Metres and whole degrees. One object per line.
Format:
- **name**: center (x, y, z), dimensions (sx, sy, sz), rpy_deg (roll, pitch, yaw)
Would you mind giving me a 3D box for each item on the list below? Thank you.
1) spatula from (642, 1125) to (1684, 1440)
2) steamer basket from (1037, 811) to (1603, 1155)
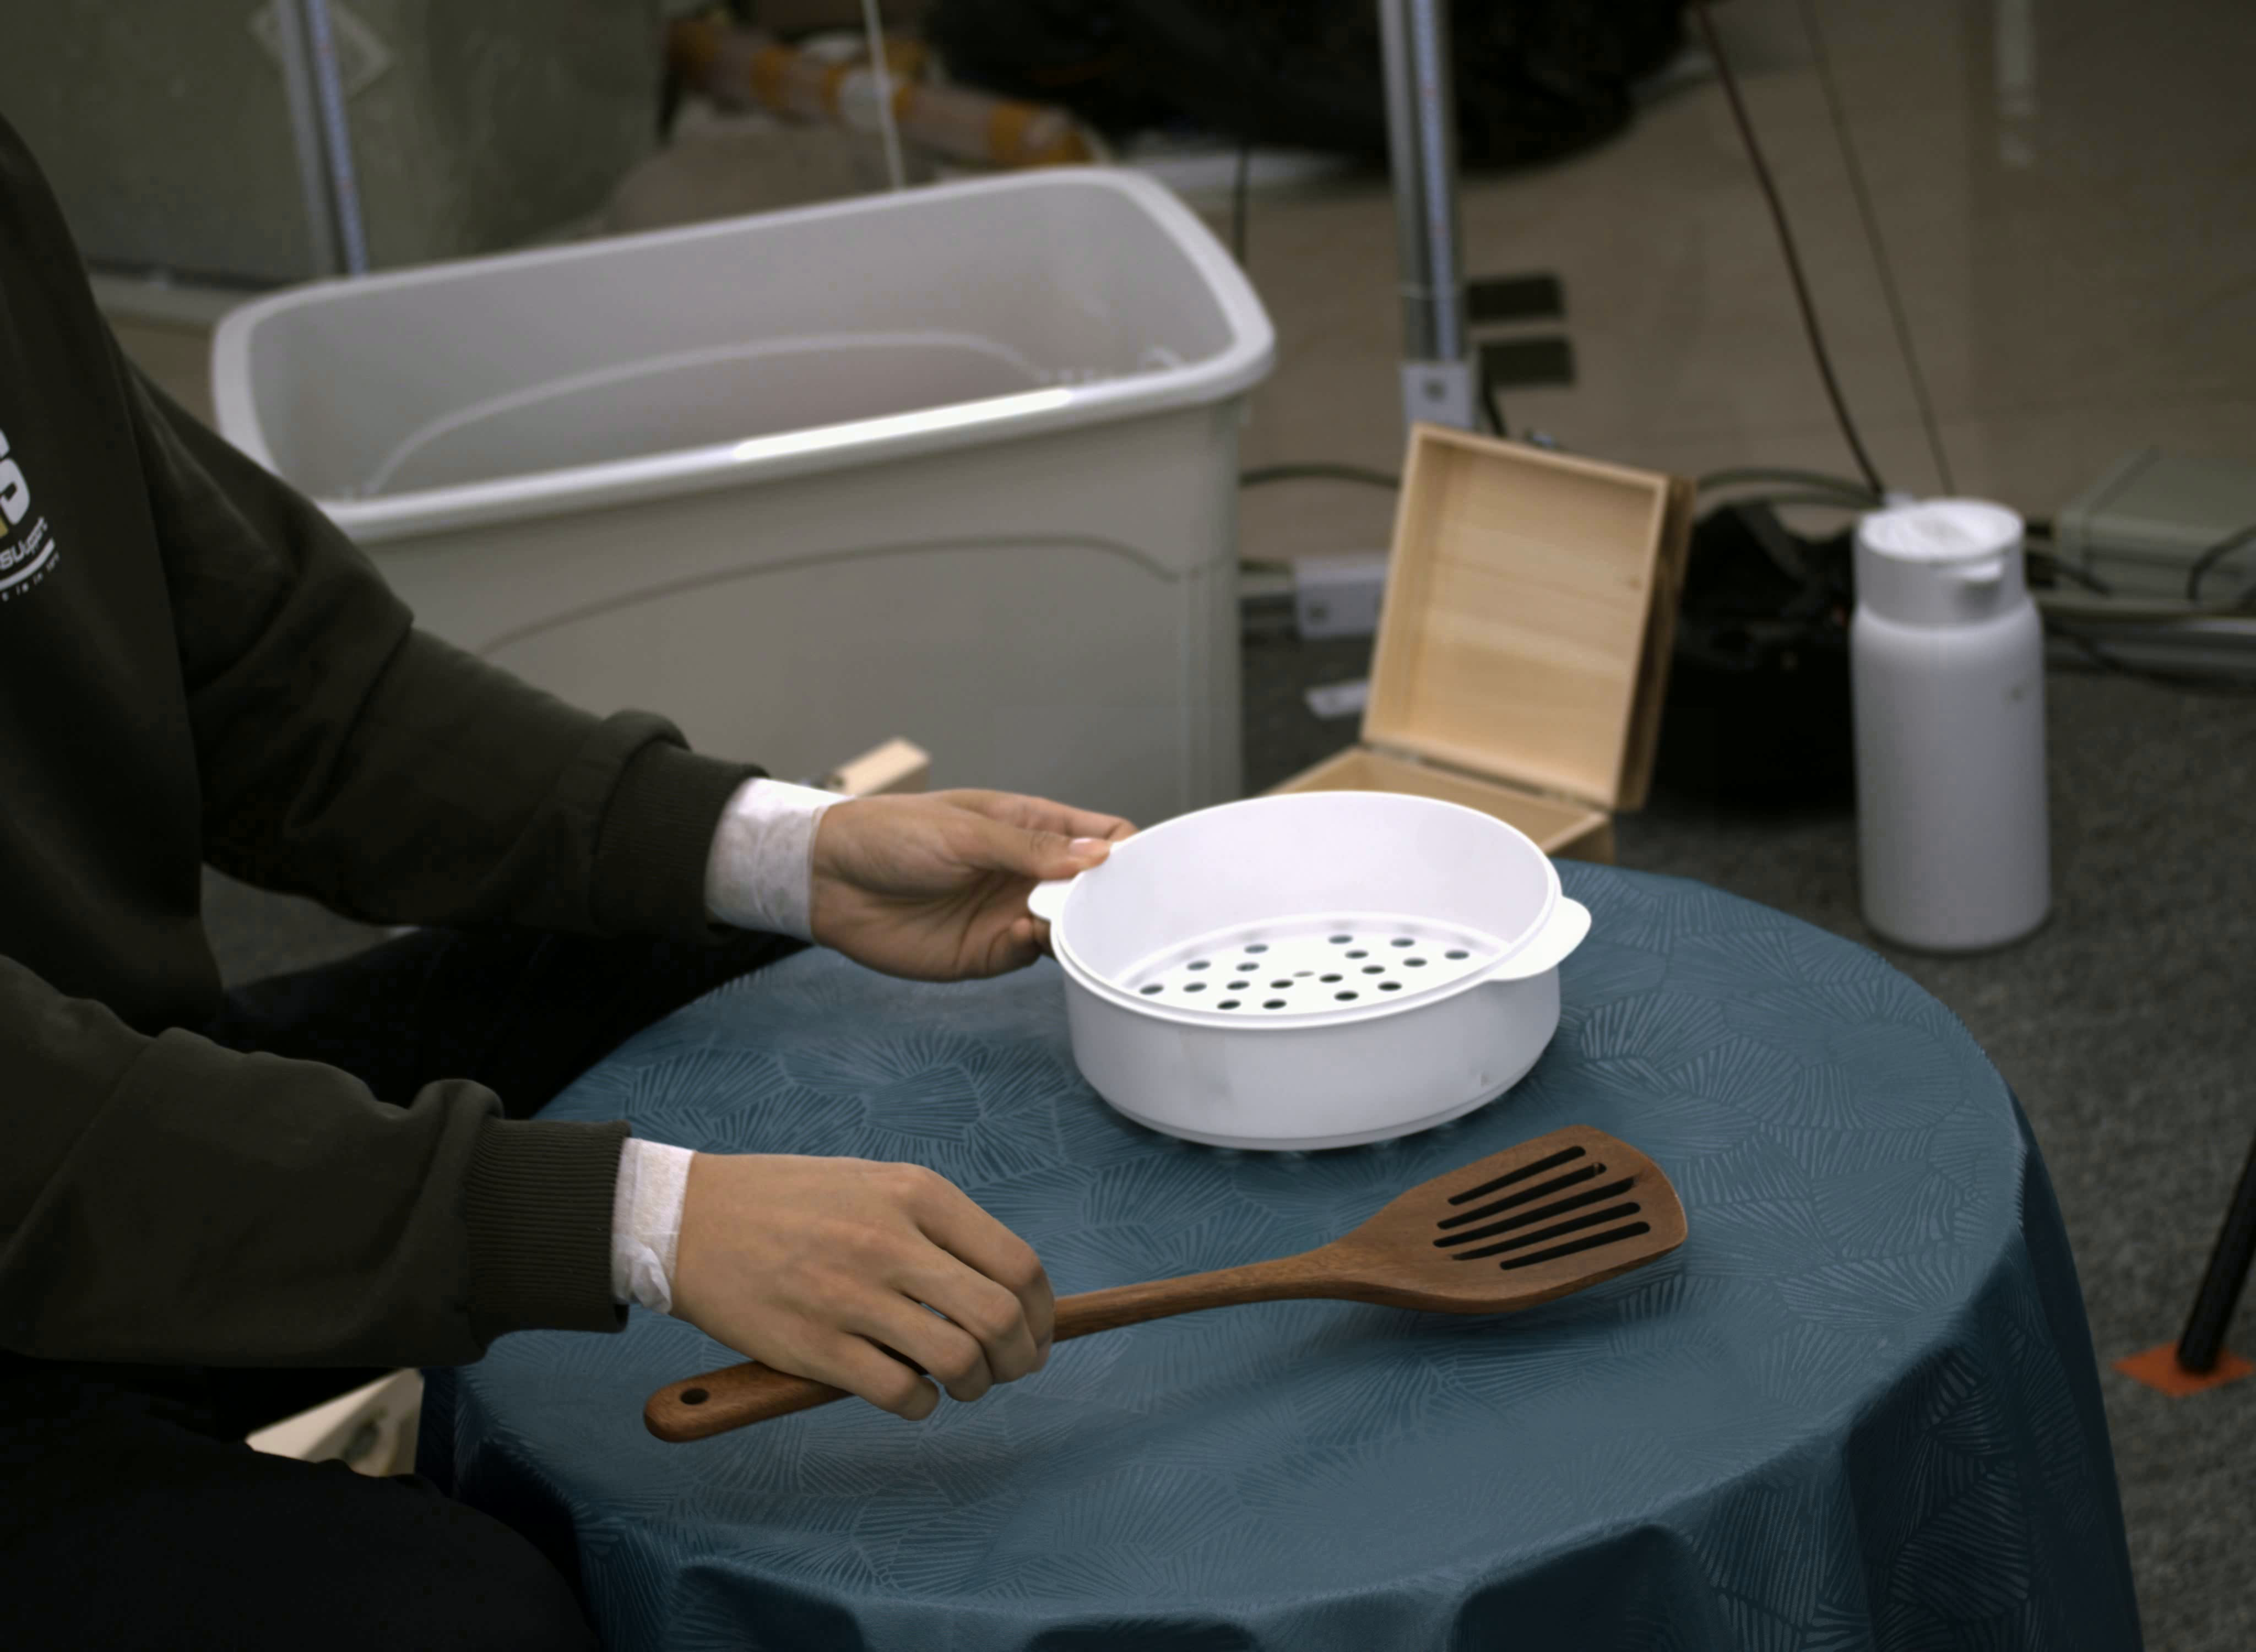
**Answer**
- **spatula**: center (0.013, 0.169, 1.999), dimensions (0.384, 0.024, 0.084), rpy_deg (-11, 34, -20)
- **steamer basket**: center (0.076, 0.061, 2.223), dimensions (0.230, 0.070, 0.199), rpy_deg (4, 25, 27)
